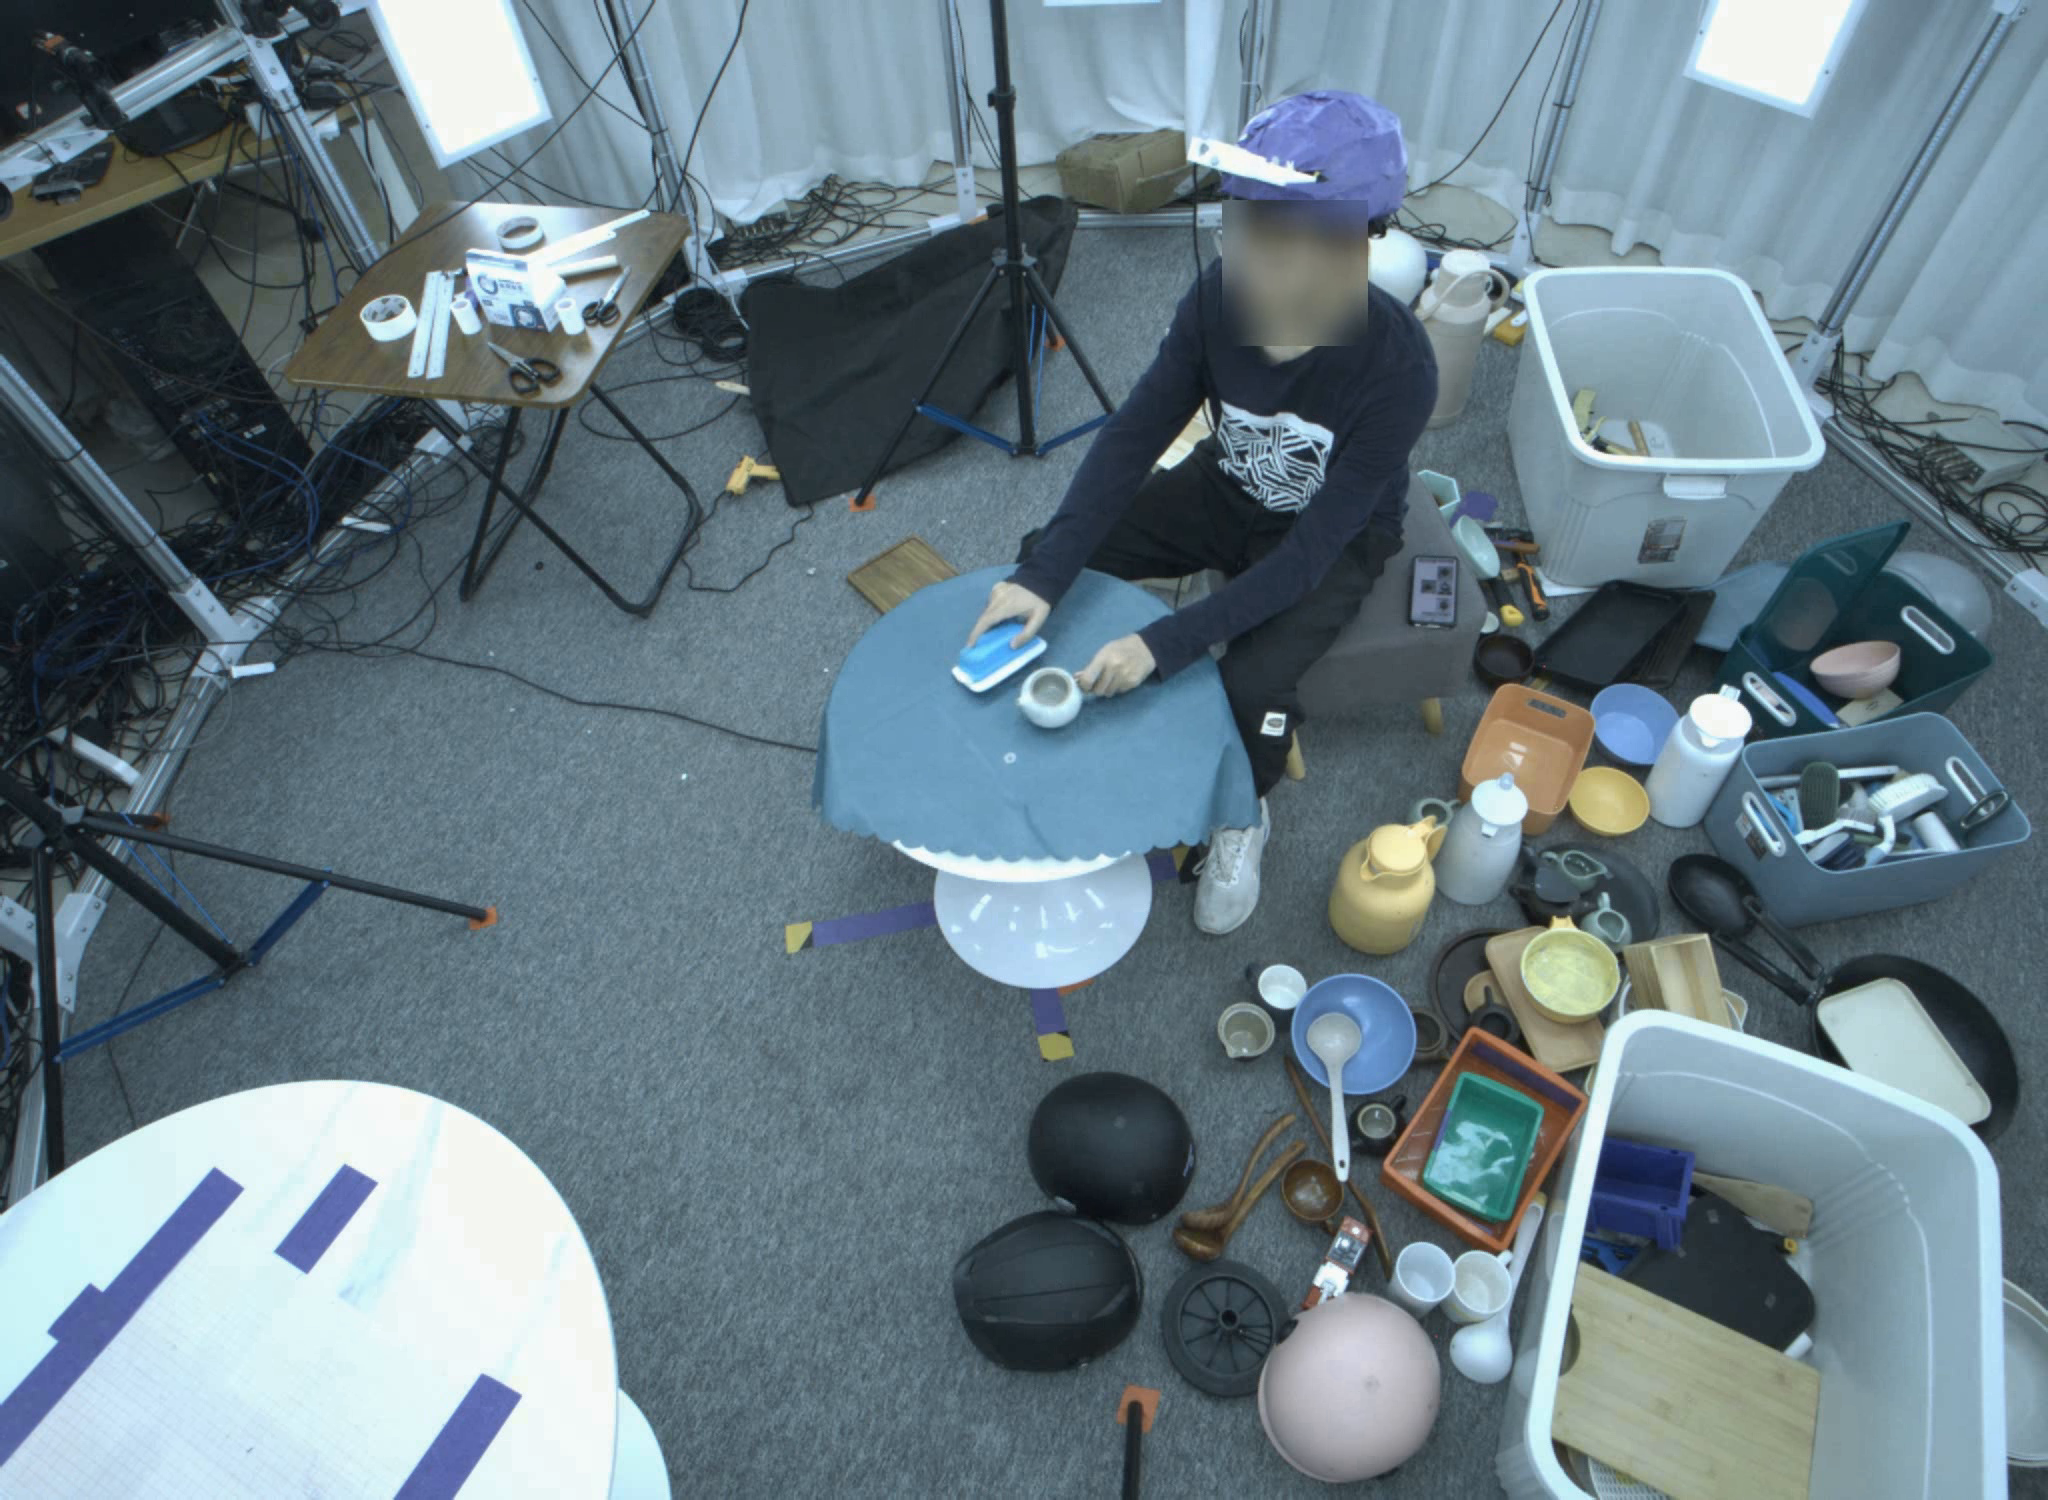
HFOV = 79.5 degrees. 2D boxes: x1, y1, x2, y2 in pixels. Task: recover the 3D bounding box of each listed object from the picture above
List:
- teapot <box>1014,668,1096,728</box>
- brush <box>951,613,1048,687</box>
[{"bbox_3d":[0.047,-0.079,1.793,0.129,0.060,0.090,-24,61,-9],"label":"teapot"},{"bbox_3d":[-0.039,-0.158,1.850,0.145,0.057,0.082,-34,52,-15],"label":"brush"}]
